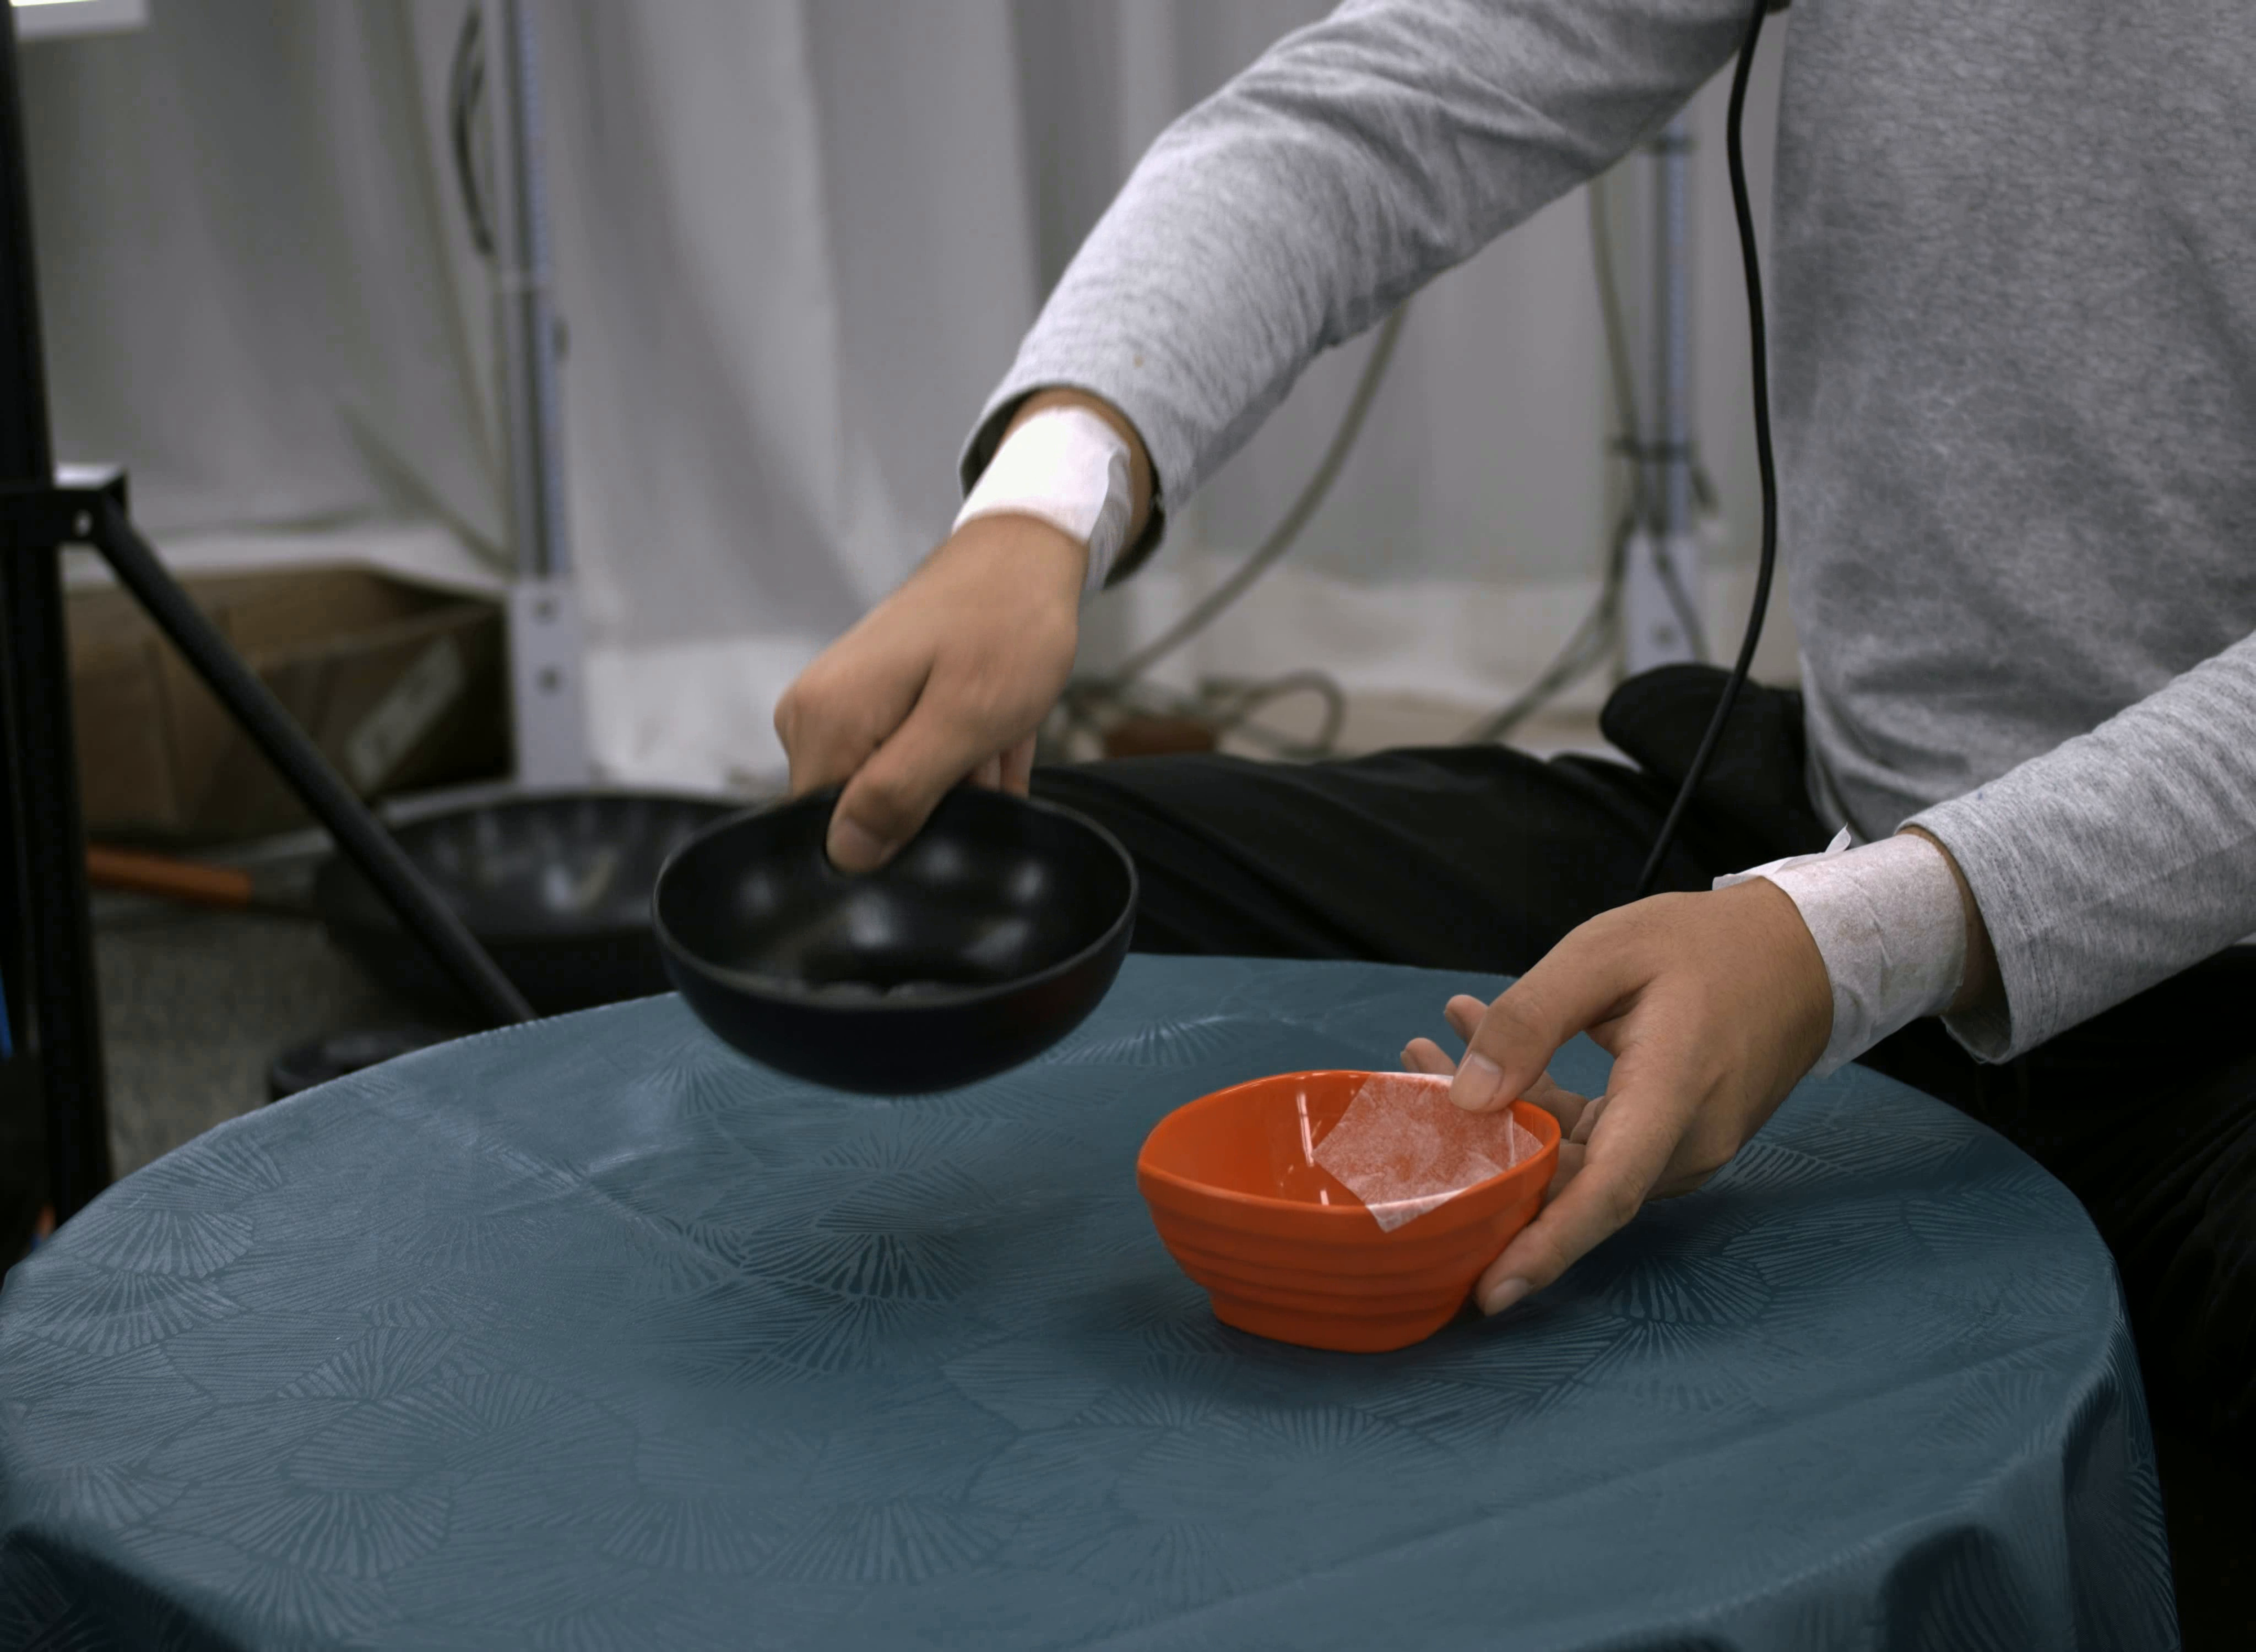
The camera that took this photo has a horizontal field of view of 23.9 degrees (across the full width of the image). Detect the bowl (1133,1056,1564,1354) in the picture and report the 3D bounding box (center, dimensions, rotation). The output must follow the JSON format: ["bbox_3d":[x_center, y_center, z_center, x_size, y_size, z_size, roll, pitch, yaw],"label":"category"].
[{"bbox_3d":[0.062,0.107,1.453,0.118,0.051,0.119,-5,18,0],"label":"bowl"}]

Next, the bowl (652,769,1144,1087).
[{"bbox_3d":[-0.065,0.036,1.506,0.139,0.049,0.141,1,26,-2],"label":"bowl"}]
